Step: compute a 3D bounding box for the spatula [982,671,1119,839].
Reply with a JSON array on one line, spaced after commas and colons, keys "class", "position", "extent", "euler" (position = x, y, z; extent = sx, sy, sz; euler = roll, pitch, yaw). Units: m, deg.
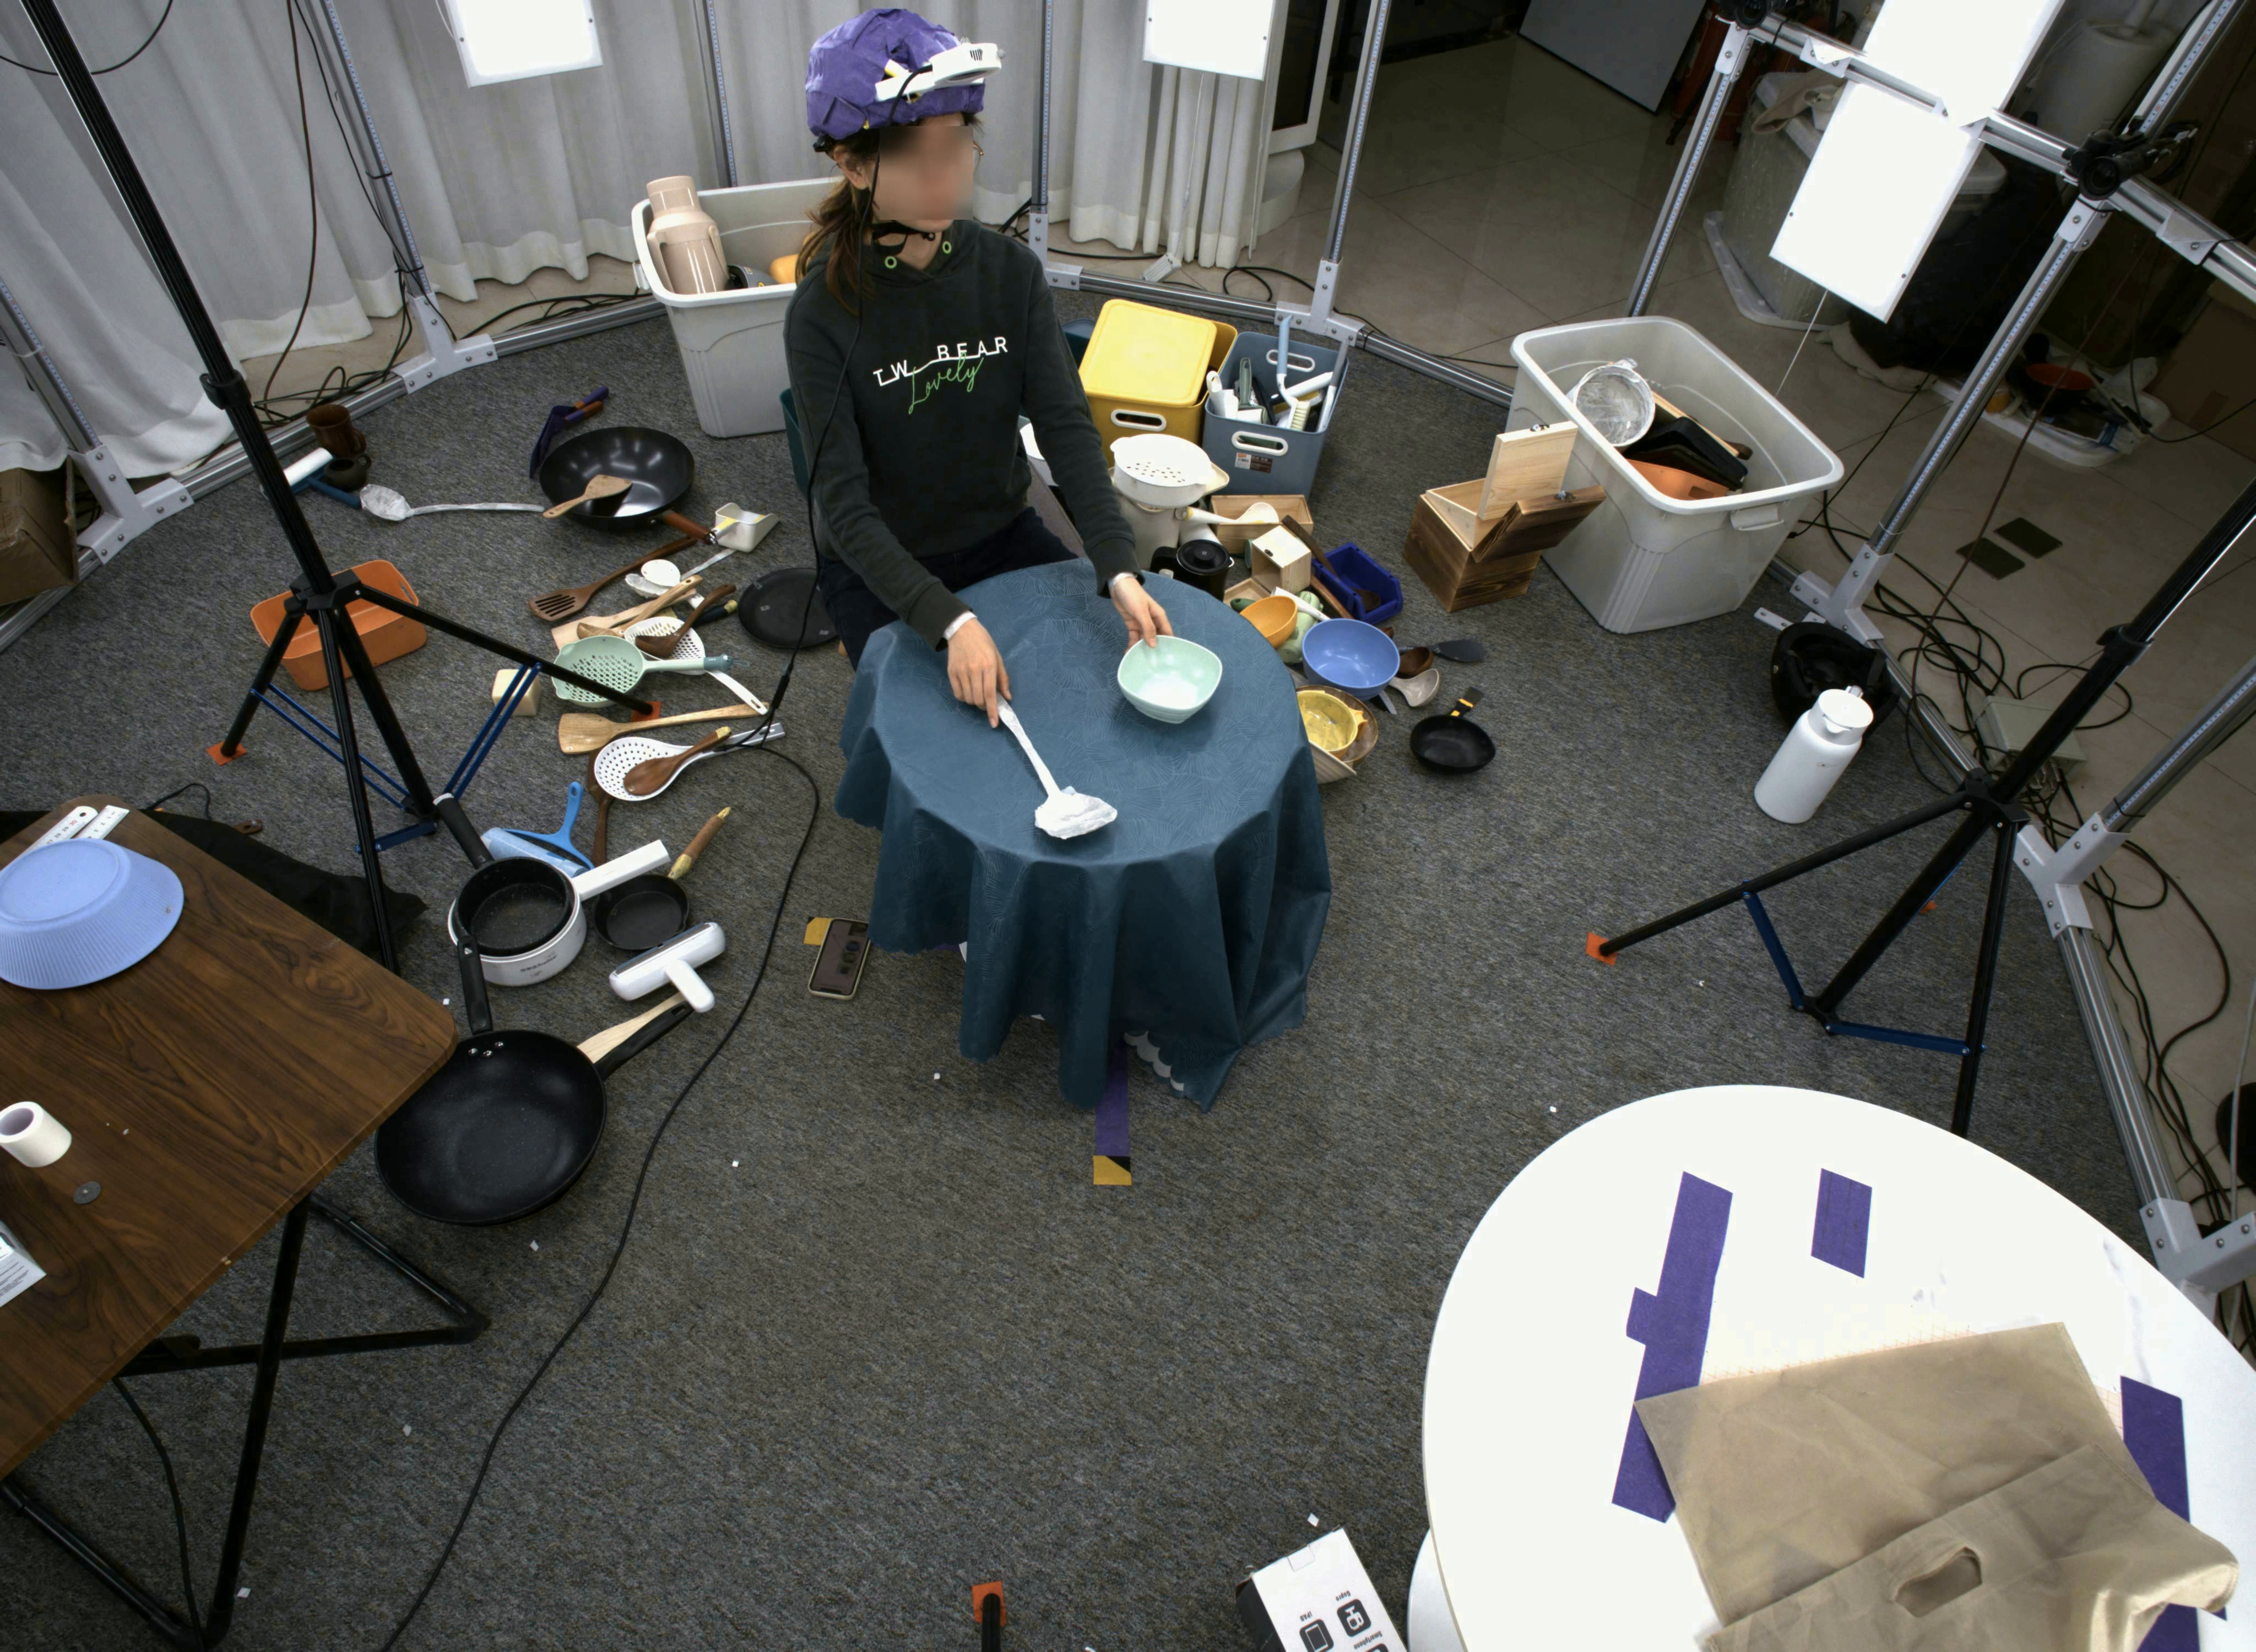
[{"class": "spatula", "position": [-0.129, -0.108, 1.744], "extent": [0.099, 0.043, 0.373], "euler": [-20, 53, -18]}]

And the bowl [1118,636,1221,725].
[{"class": "bowl", "position": [0.057, -0.198, 1.825], "extent": [0.151, 0.057, 0.155], "euler": [3, 51, -4]}]
